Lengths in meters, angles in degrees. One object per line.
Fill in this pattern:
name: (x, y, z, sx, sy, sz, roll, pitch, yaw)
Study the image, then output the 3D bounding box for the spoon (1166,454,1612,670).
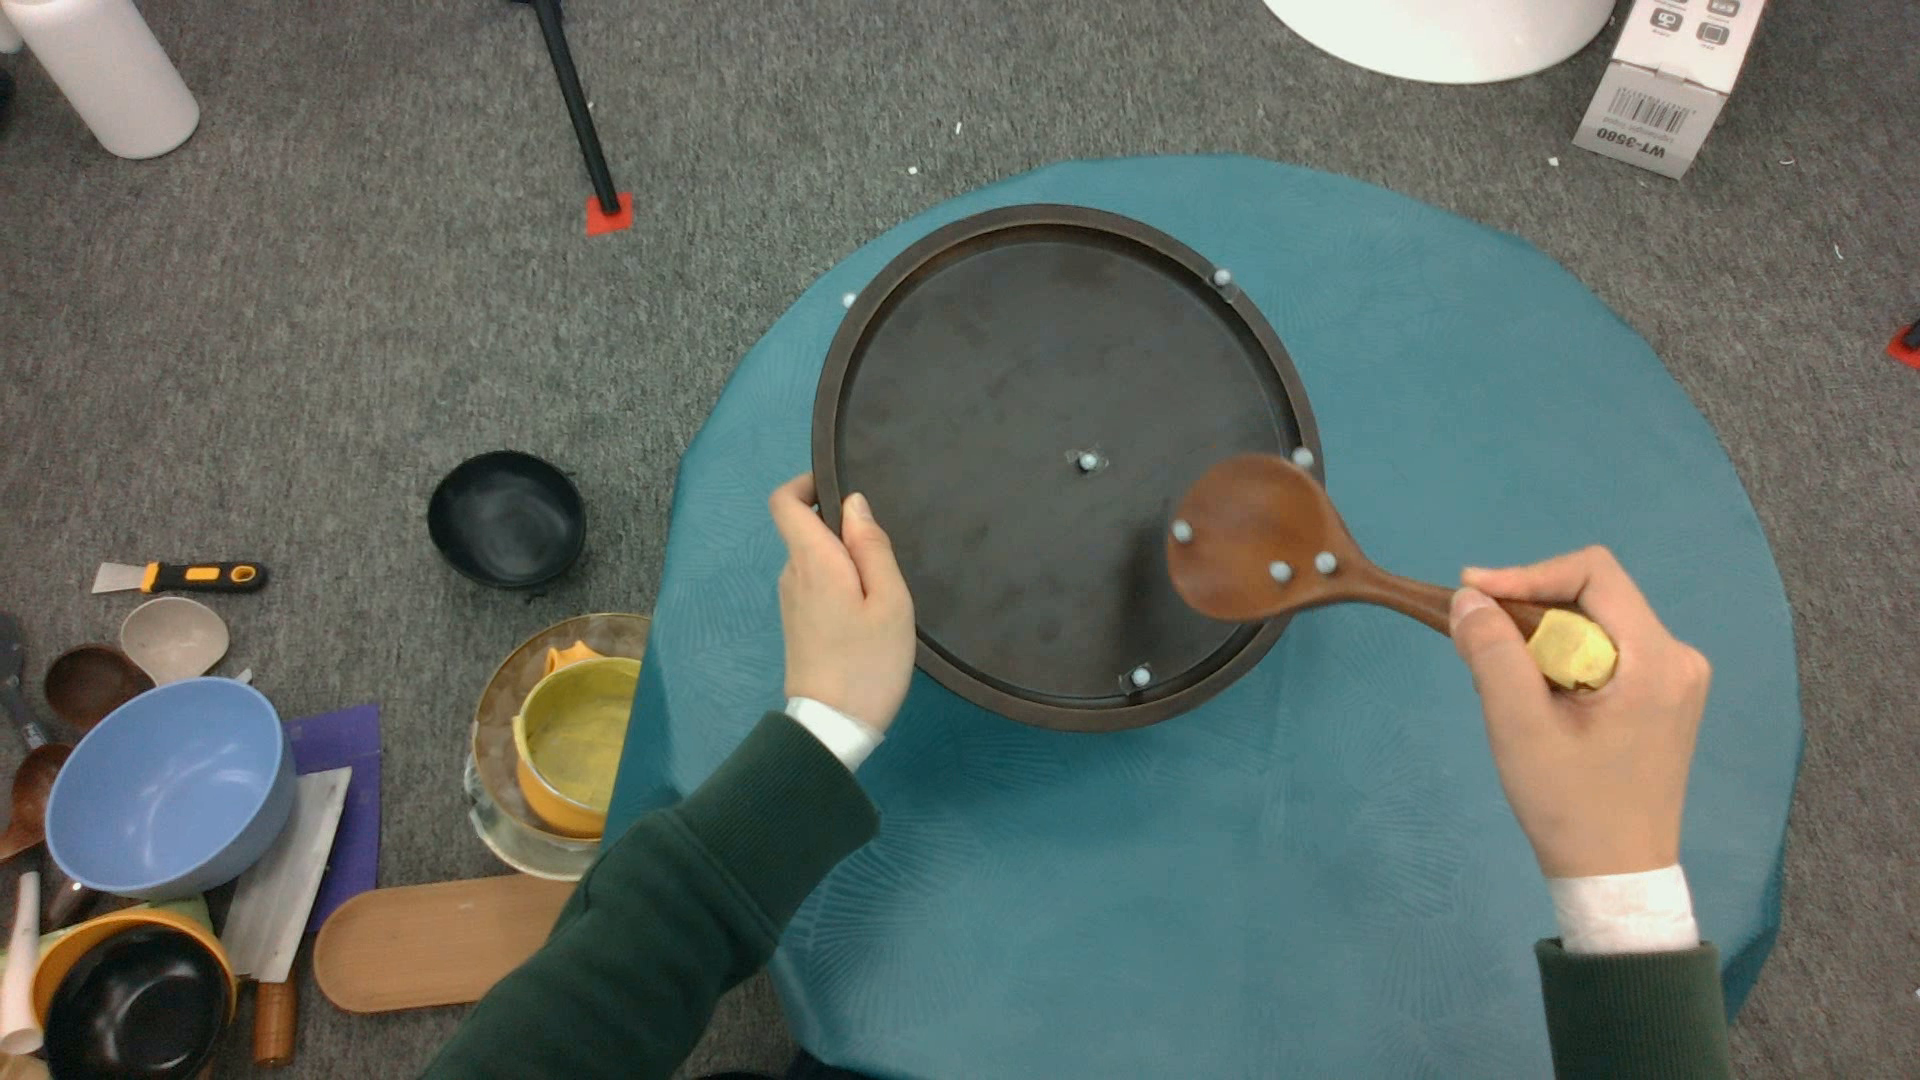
spoon: (0.155, 0.011, 0.534, 0.075, 0.017, 0.216, -60, 31, -4)

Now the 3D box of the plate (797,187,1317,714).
plate: (0.049, -0.044, 0.645, 0.255, 0.029, 0.255, 4, 75, -15)
